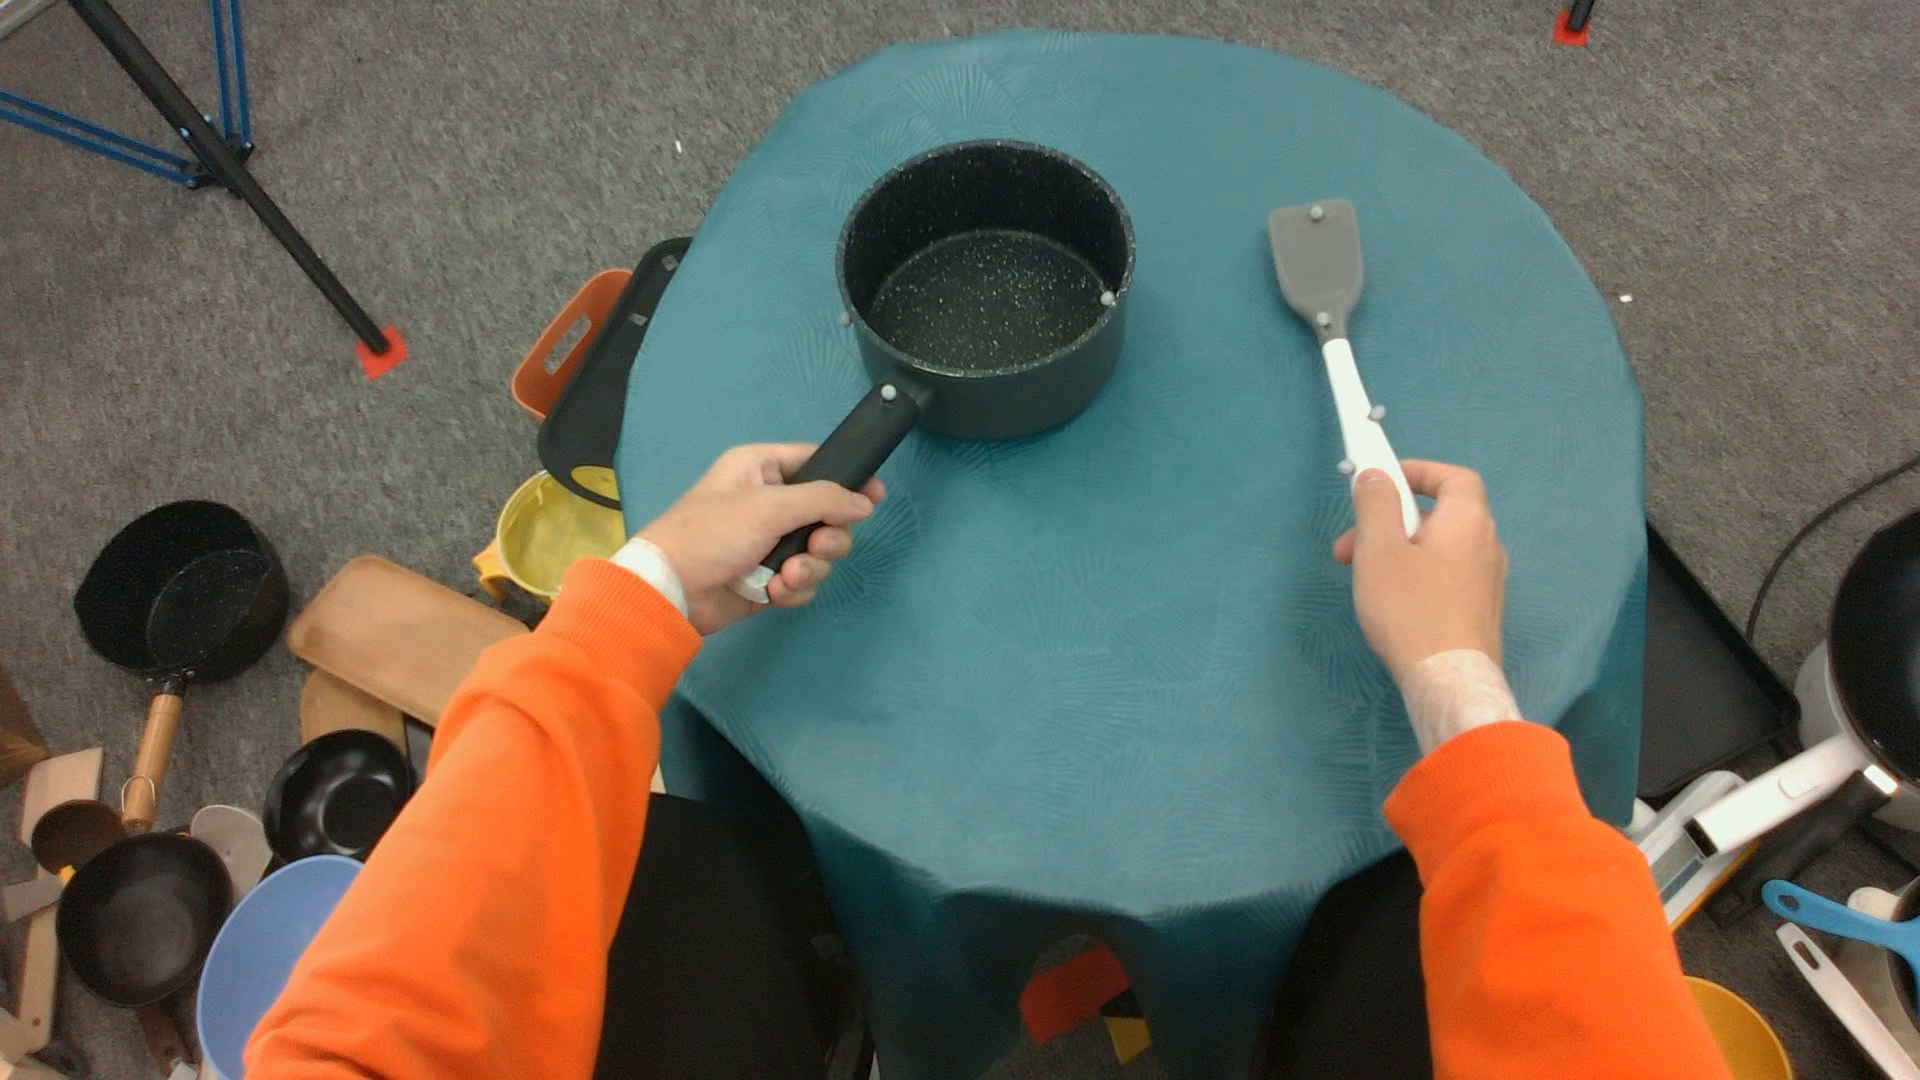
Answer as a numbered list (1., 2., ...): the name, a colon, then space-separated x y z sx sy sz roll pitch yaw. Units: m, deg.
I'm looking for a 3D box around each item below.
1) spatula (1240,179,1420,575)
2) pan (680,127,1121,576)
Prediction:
1. spatula: 0.208 -0.104 0.780 0.058 0.032 0.289 -11 51 10
2. pan: -0.035 -0.095 0.777 0.172 0.086 0.330 28 65 19
